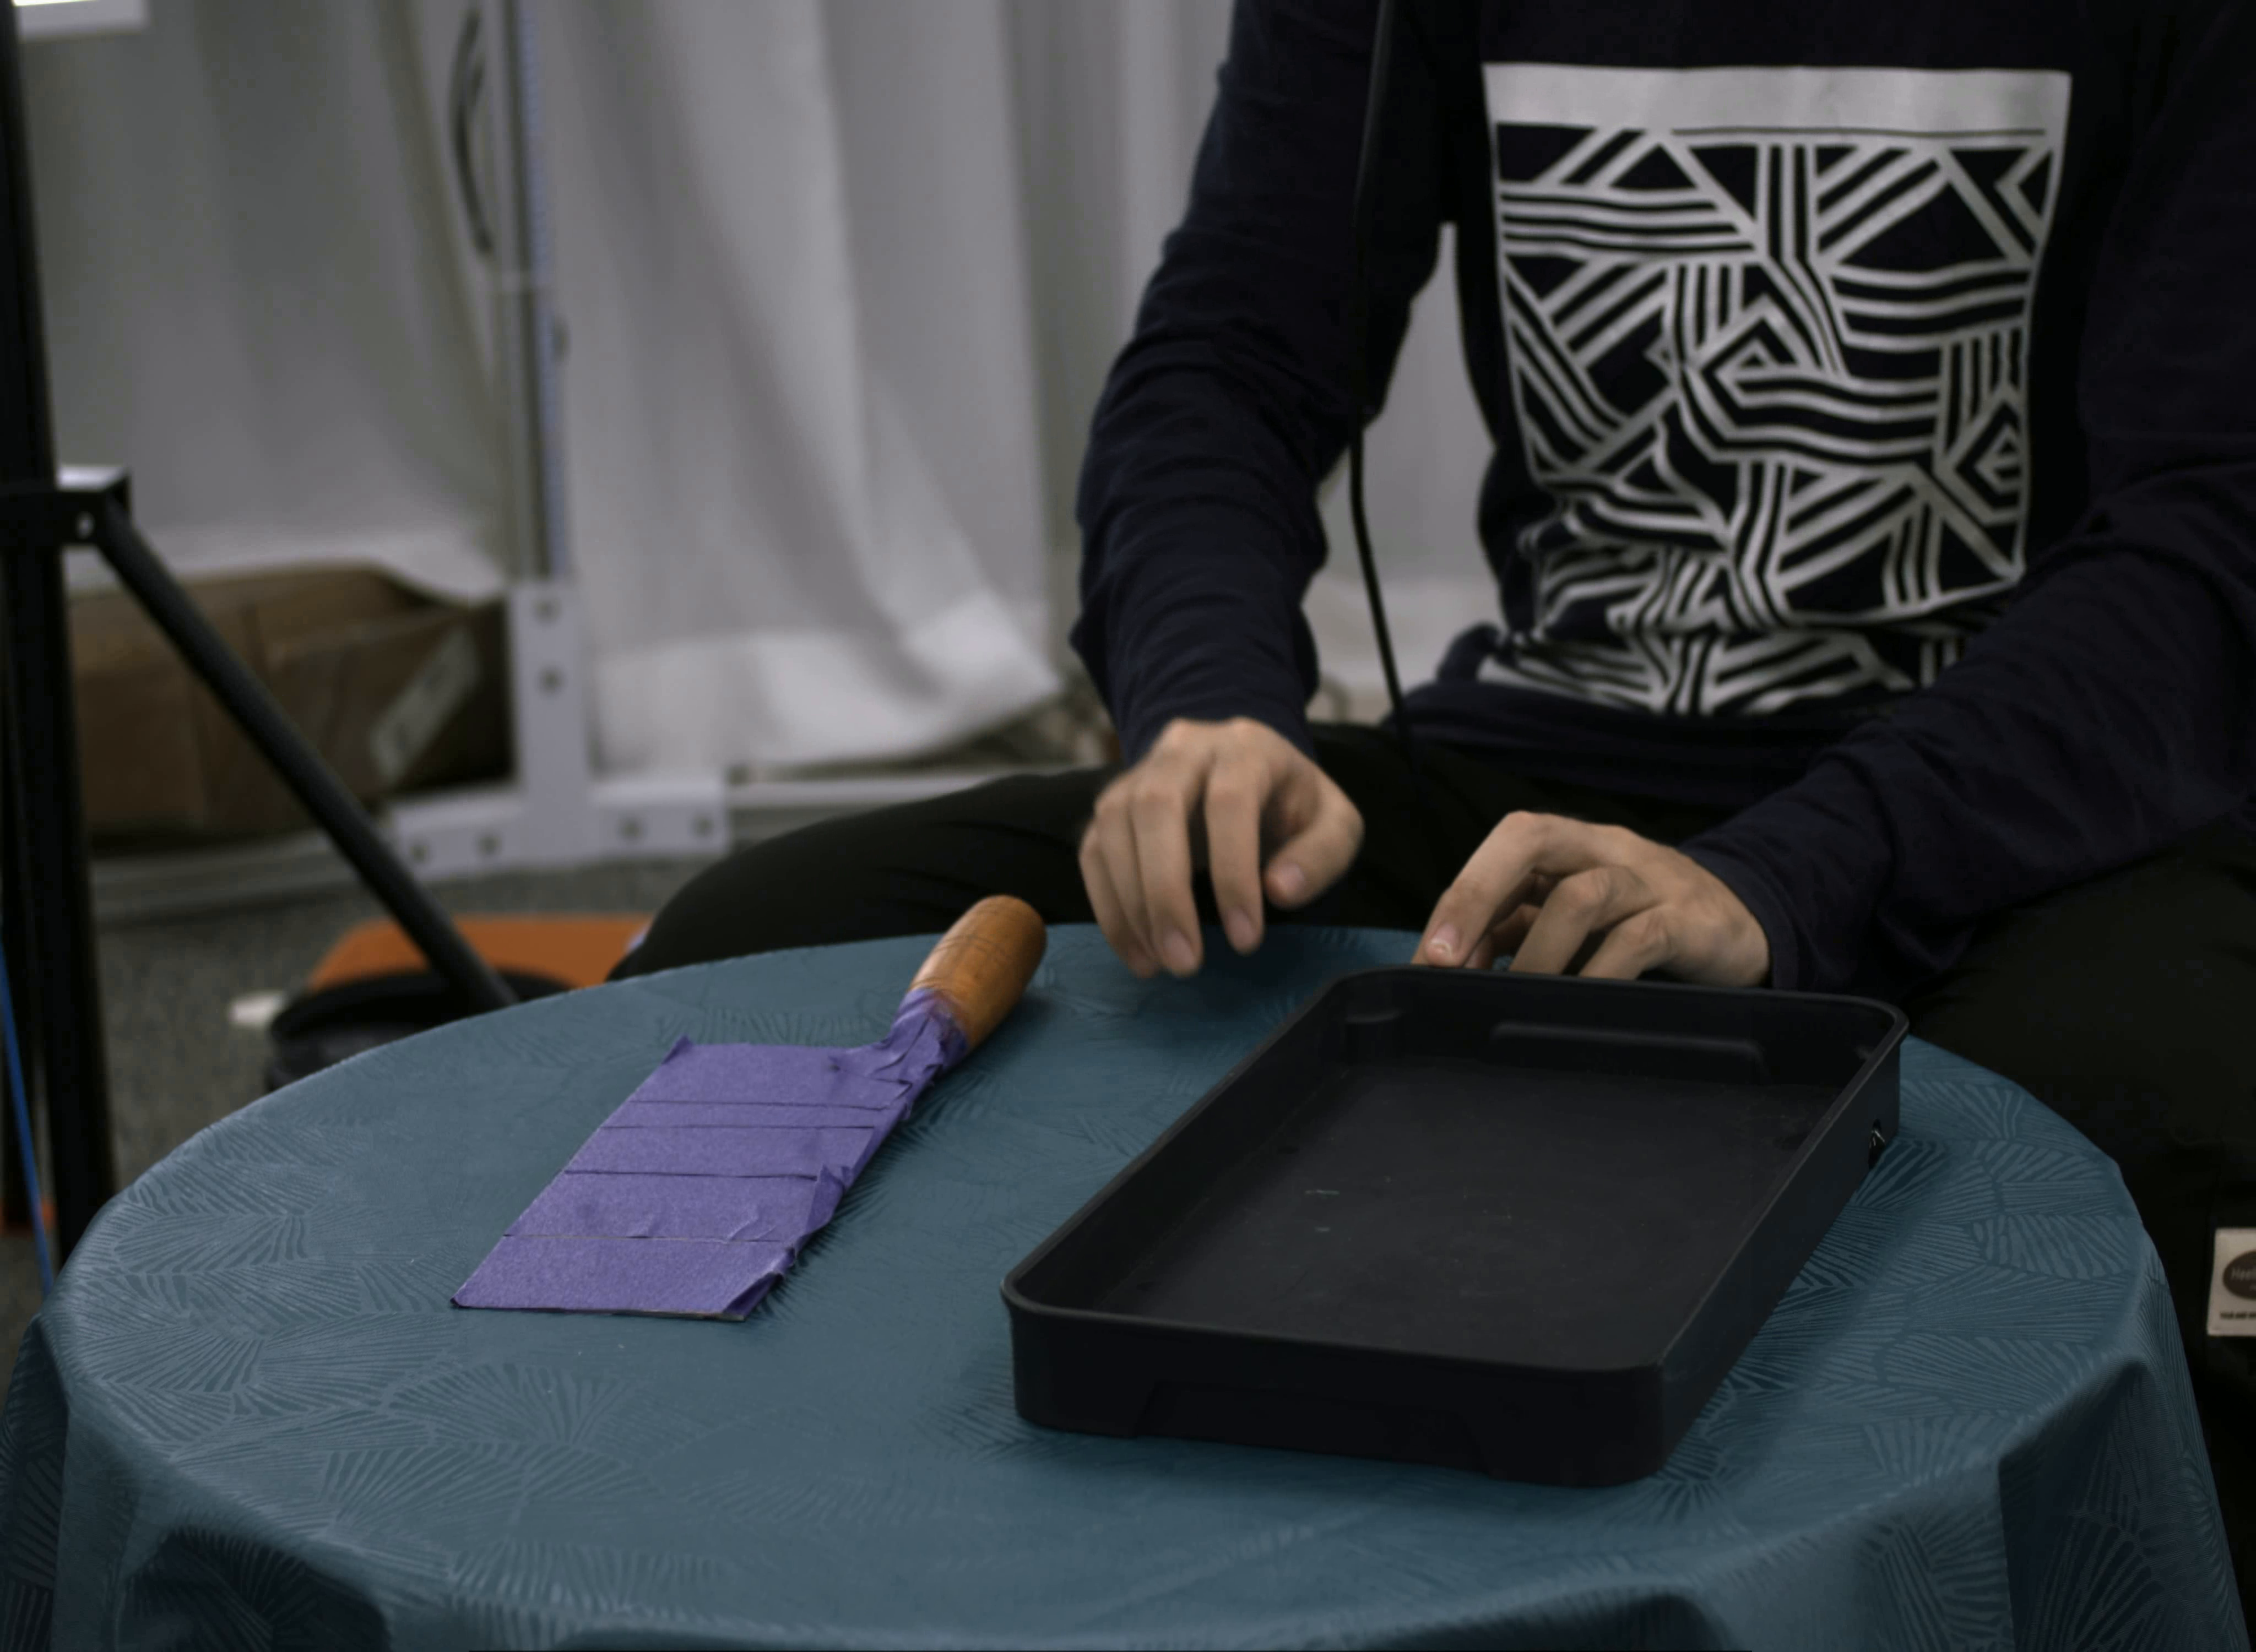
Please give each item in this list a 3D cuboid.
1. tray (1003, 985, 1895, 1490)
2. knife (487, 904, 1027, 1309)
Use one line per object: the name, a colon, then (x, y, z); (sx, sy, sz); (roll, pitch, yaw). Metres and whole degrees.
tray: (0.098, 0.108, 1.486); (0.186, 0.037, 0.314); (3, 15, 19)
knife: (-0.110, 0.082, 1.621); (0.104, 0.032, 0.313); (2, 17, 14)
